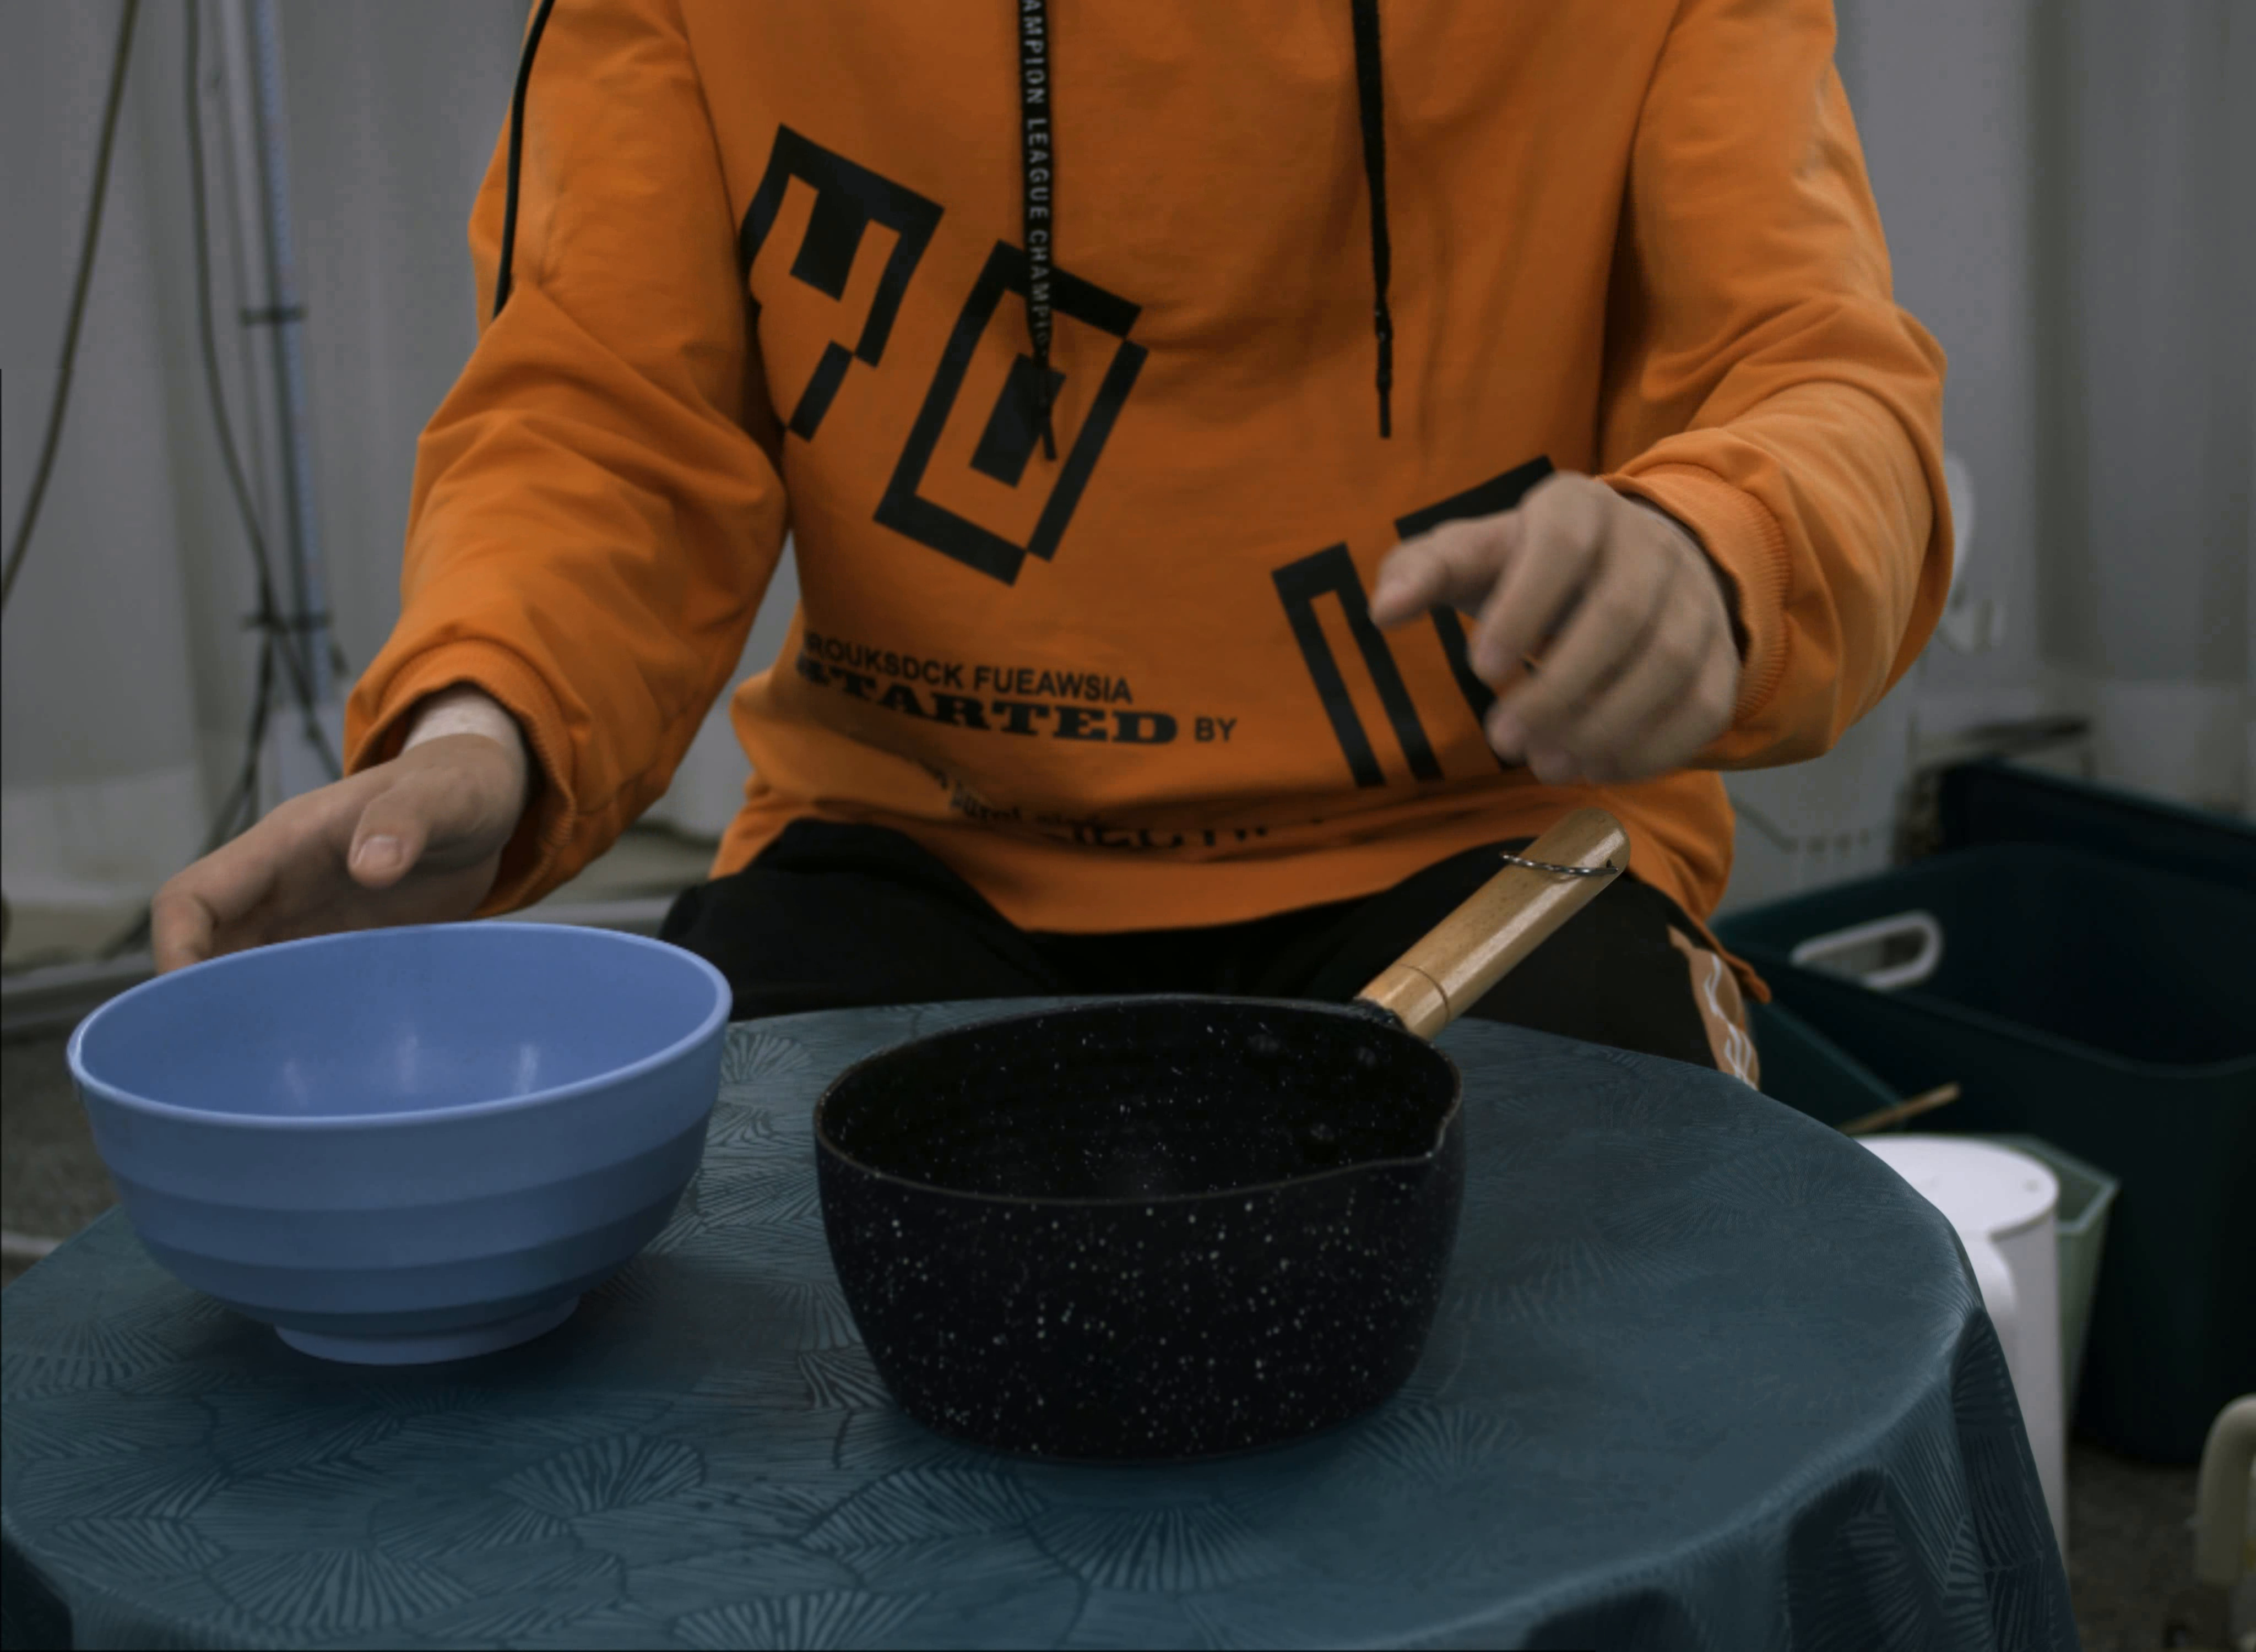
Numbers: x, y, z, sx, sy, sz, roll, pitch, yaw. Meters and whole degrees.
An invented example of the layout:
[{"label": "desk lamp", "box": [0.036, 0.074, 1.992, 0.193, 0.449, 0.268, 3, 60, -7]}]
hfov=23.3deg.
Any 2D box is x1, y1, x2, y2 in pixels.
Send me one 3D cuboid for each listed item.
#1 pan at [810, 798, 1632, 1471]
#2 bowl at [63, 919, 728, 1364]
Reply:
[{"label": "pan", "box": [0.050, 0.085, 1.607, 0.208, 0.108, 0.343, 6, 19, 35]}, {"label": "bowl", "box": [-0.213, 0.100, 1.628, 0.196, 0.095, 0.198, -4, 15, 1]}]
